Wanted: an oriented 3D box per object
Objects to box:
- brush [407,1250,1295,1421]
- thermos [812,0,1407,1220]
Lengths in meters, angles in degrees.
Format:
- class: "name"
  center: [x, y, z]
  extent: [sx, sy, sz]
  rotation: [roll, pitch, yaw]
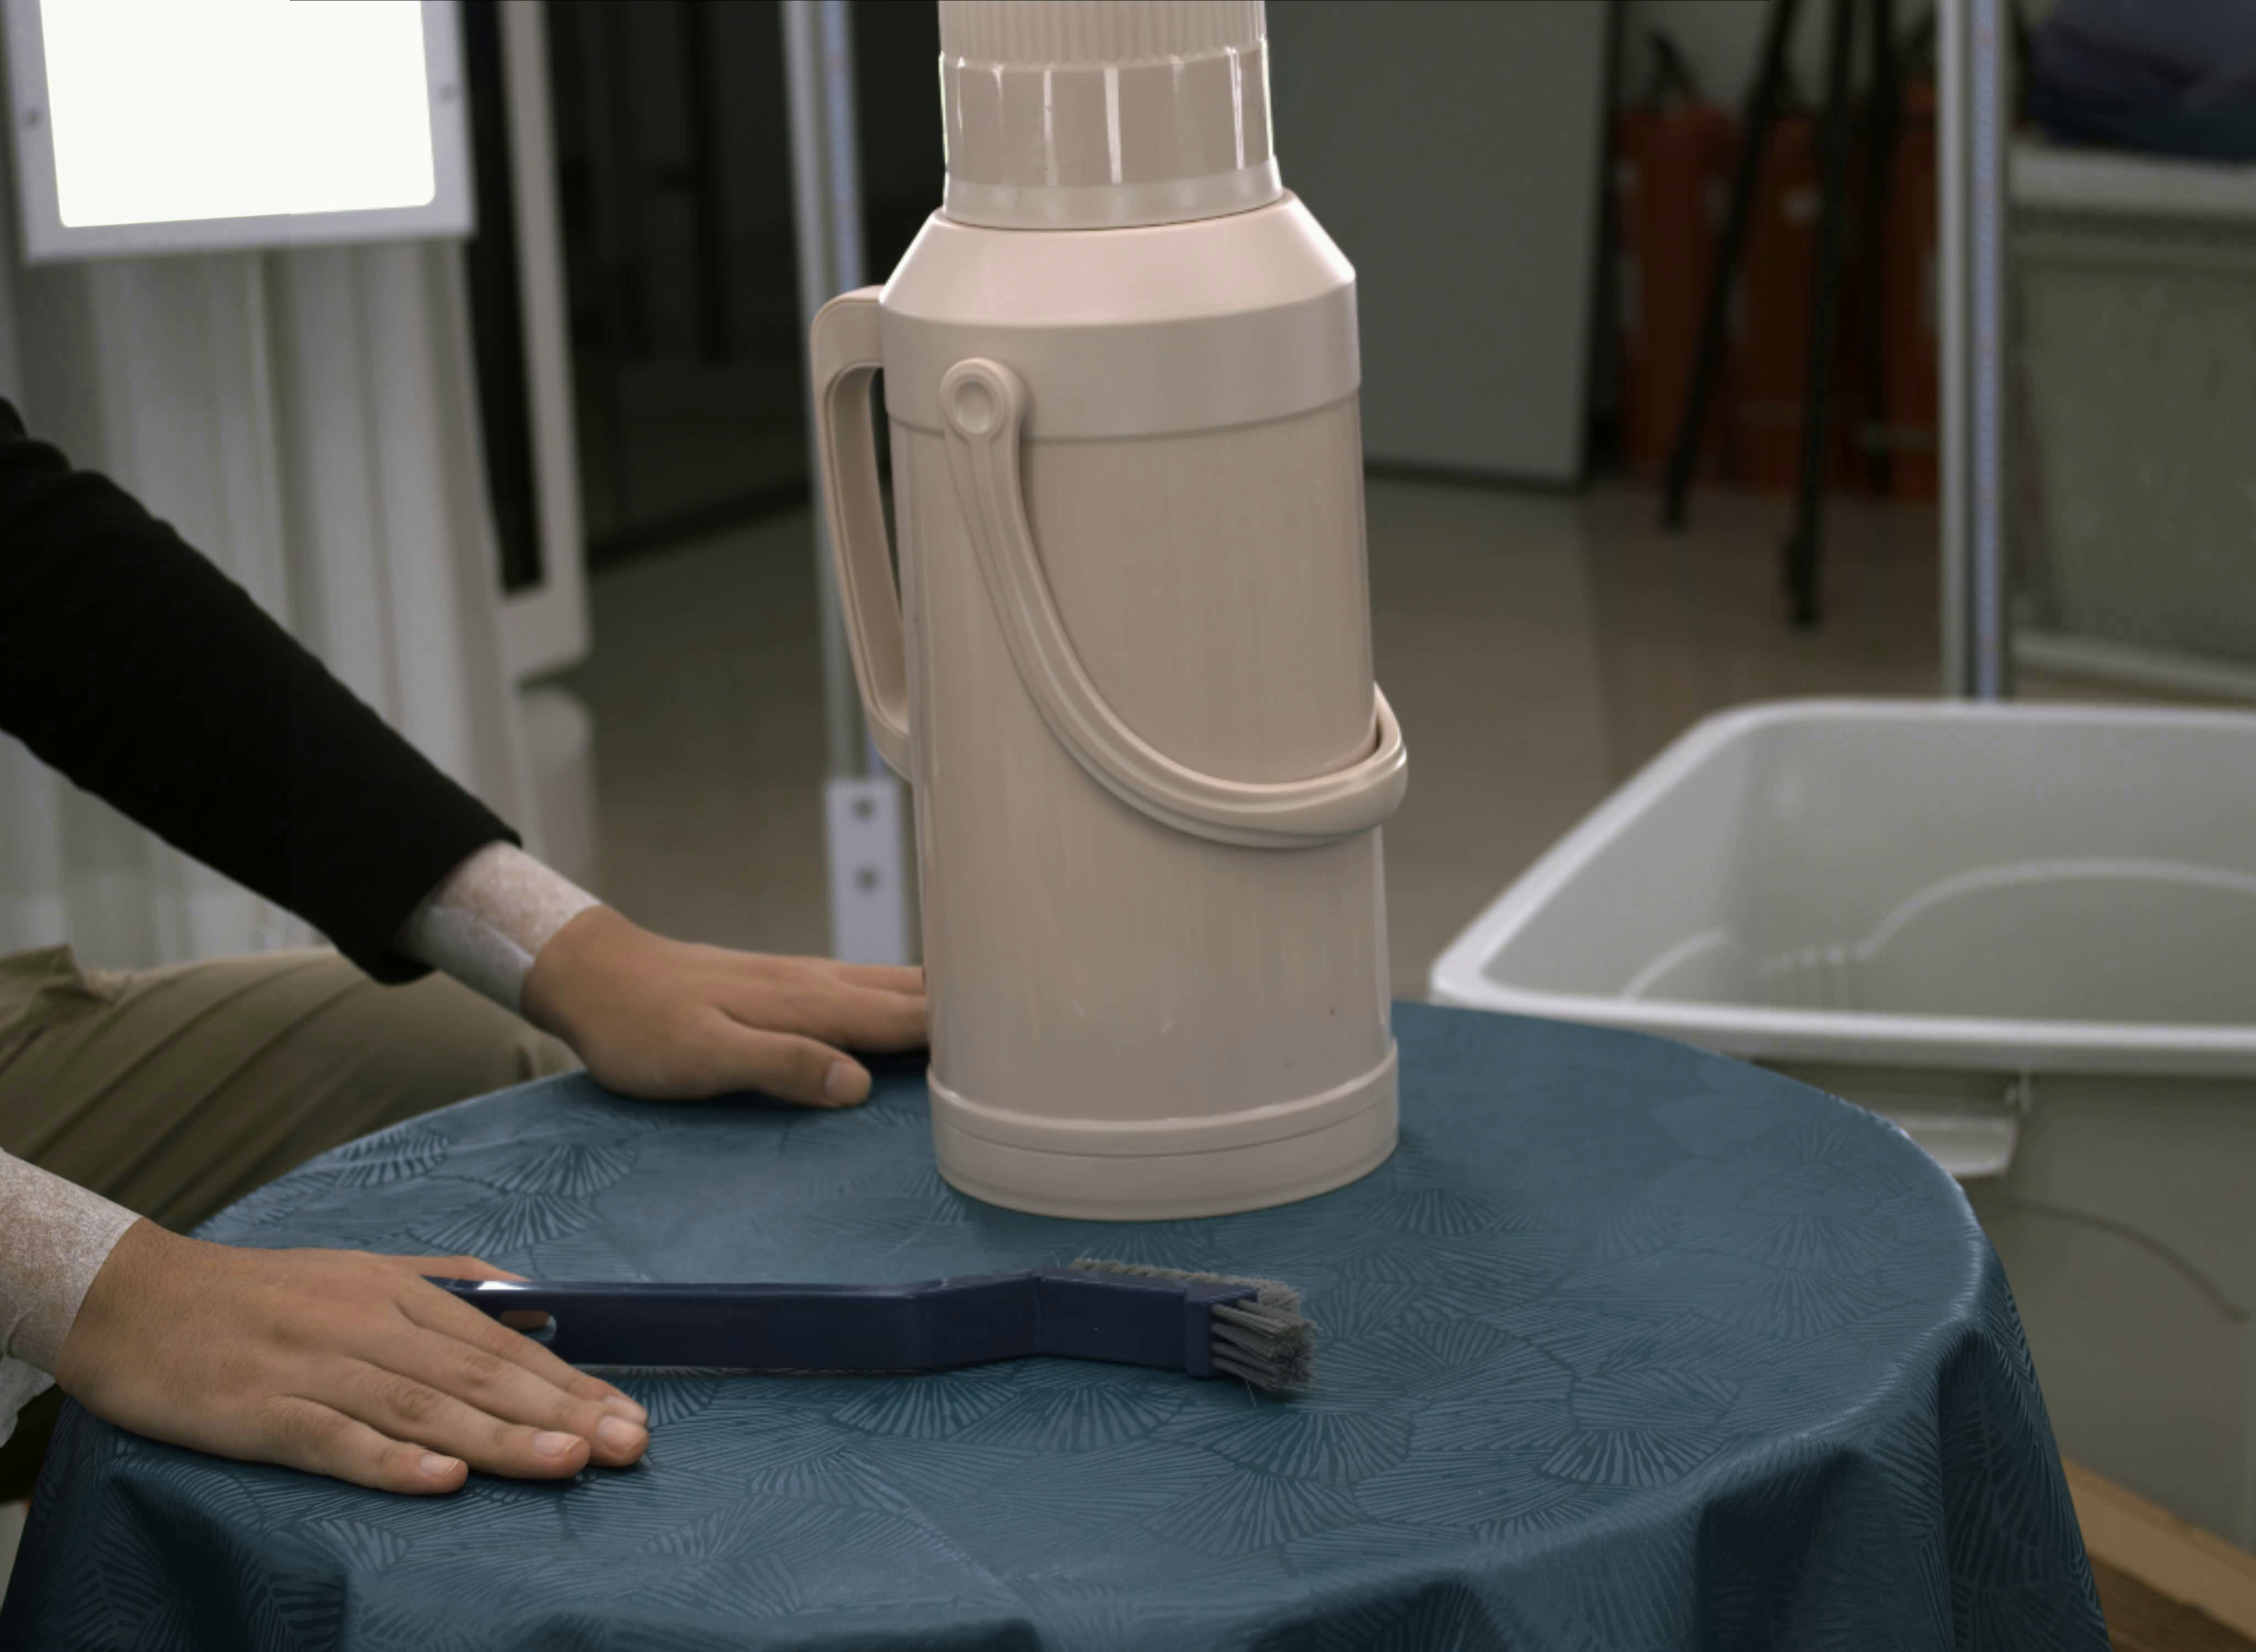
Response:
- class: "brush"
  center: [-0.085, 0.150, 1.608]
  extent: [0.270, 0.034, 0.095]
  rotation: [-1, 13, 4]
- class: "thermos"
  center: [-0.009, -0.086, 1.778]
  extent: [0.208, 0.410, 0.172]
  rotation: [5, 17, 32]
